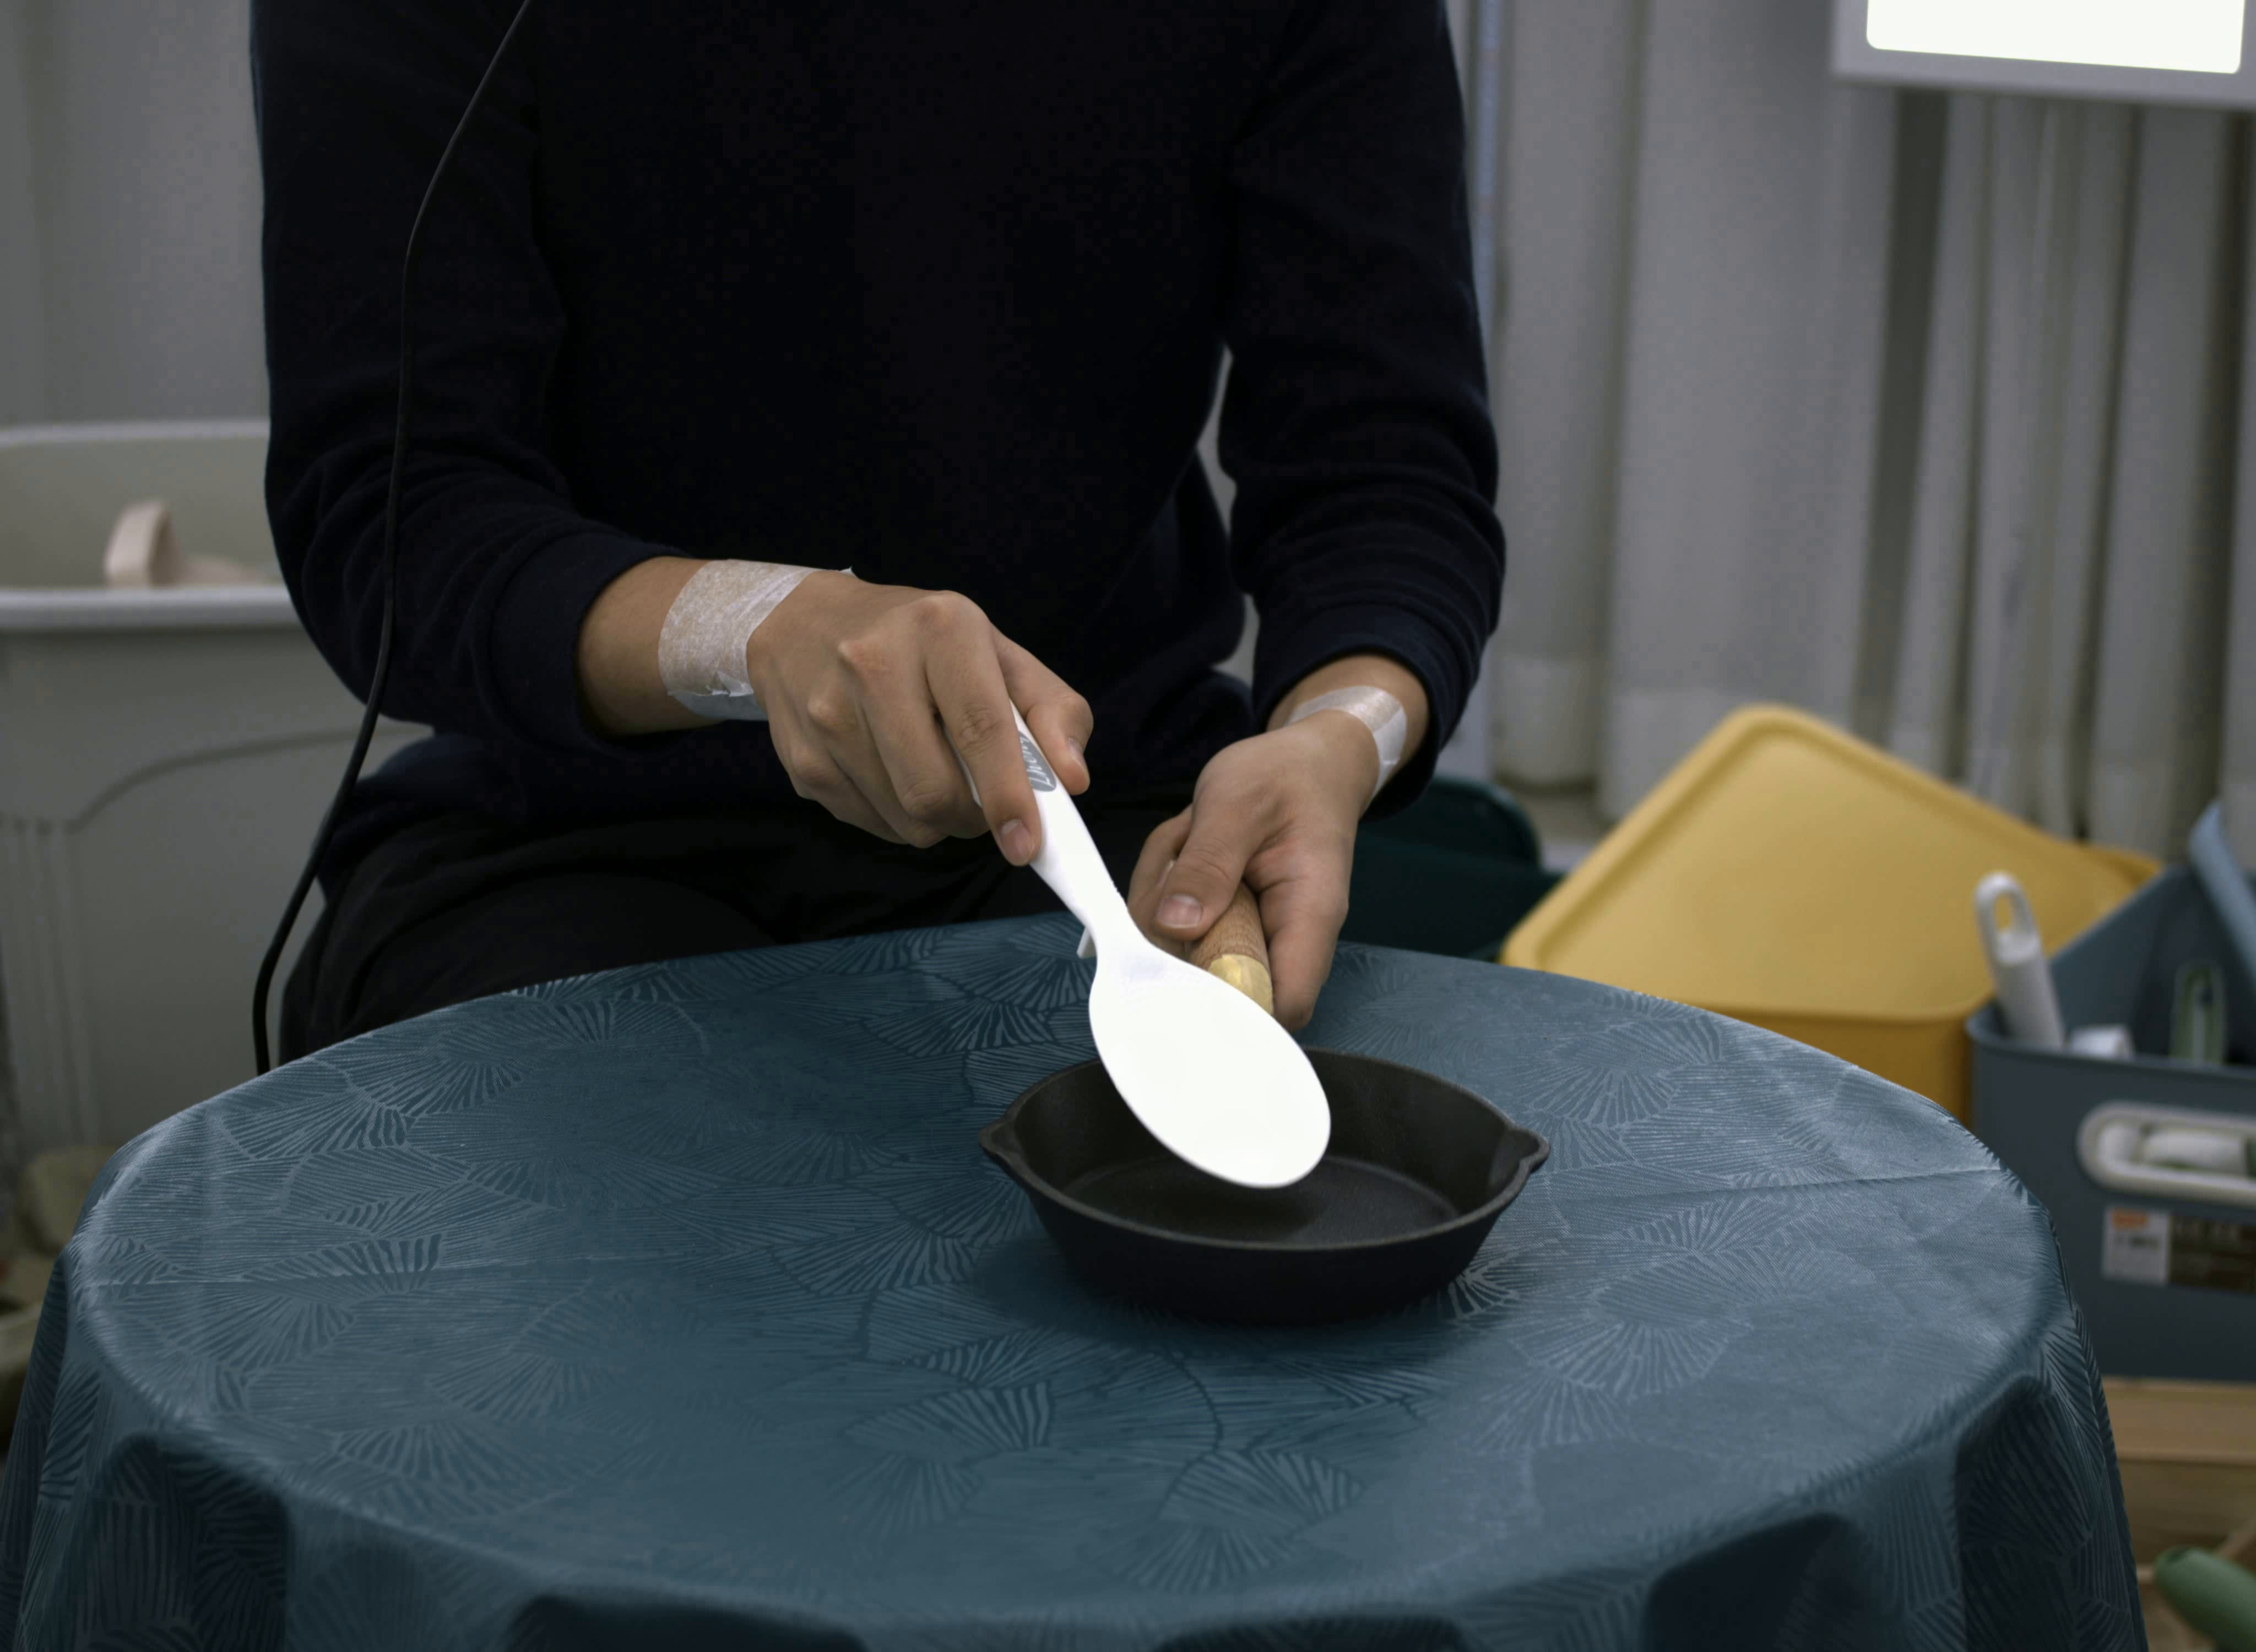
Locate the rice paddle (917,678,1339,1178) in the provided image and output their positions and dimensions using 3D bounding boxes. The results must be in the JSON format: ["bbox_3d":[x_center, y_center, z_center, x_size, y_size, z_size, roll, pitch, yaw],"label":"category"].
[{"bbox_3d":[-0.002,0.032,1.614,0.069,0.029,0.203,-12,51,-34],"label":"rice paddle"}]

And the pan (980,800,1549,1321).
[{"bbox_3d":[0.038,0.069,1.634,0.168,0.050,0.322,2,21,-3],"label":"pan"}]
